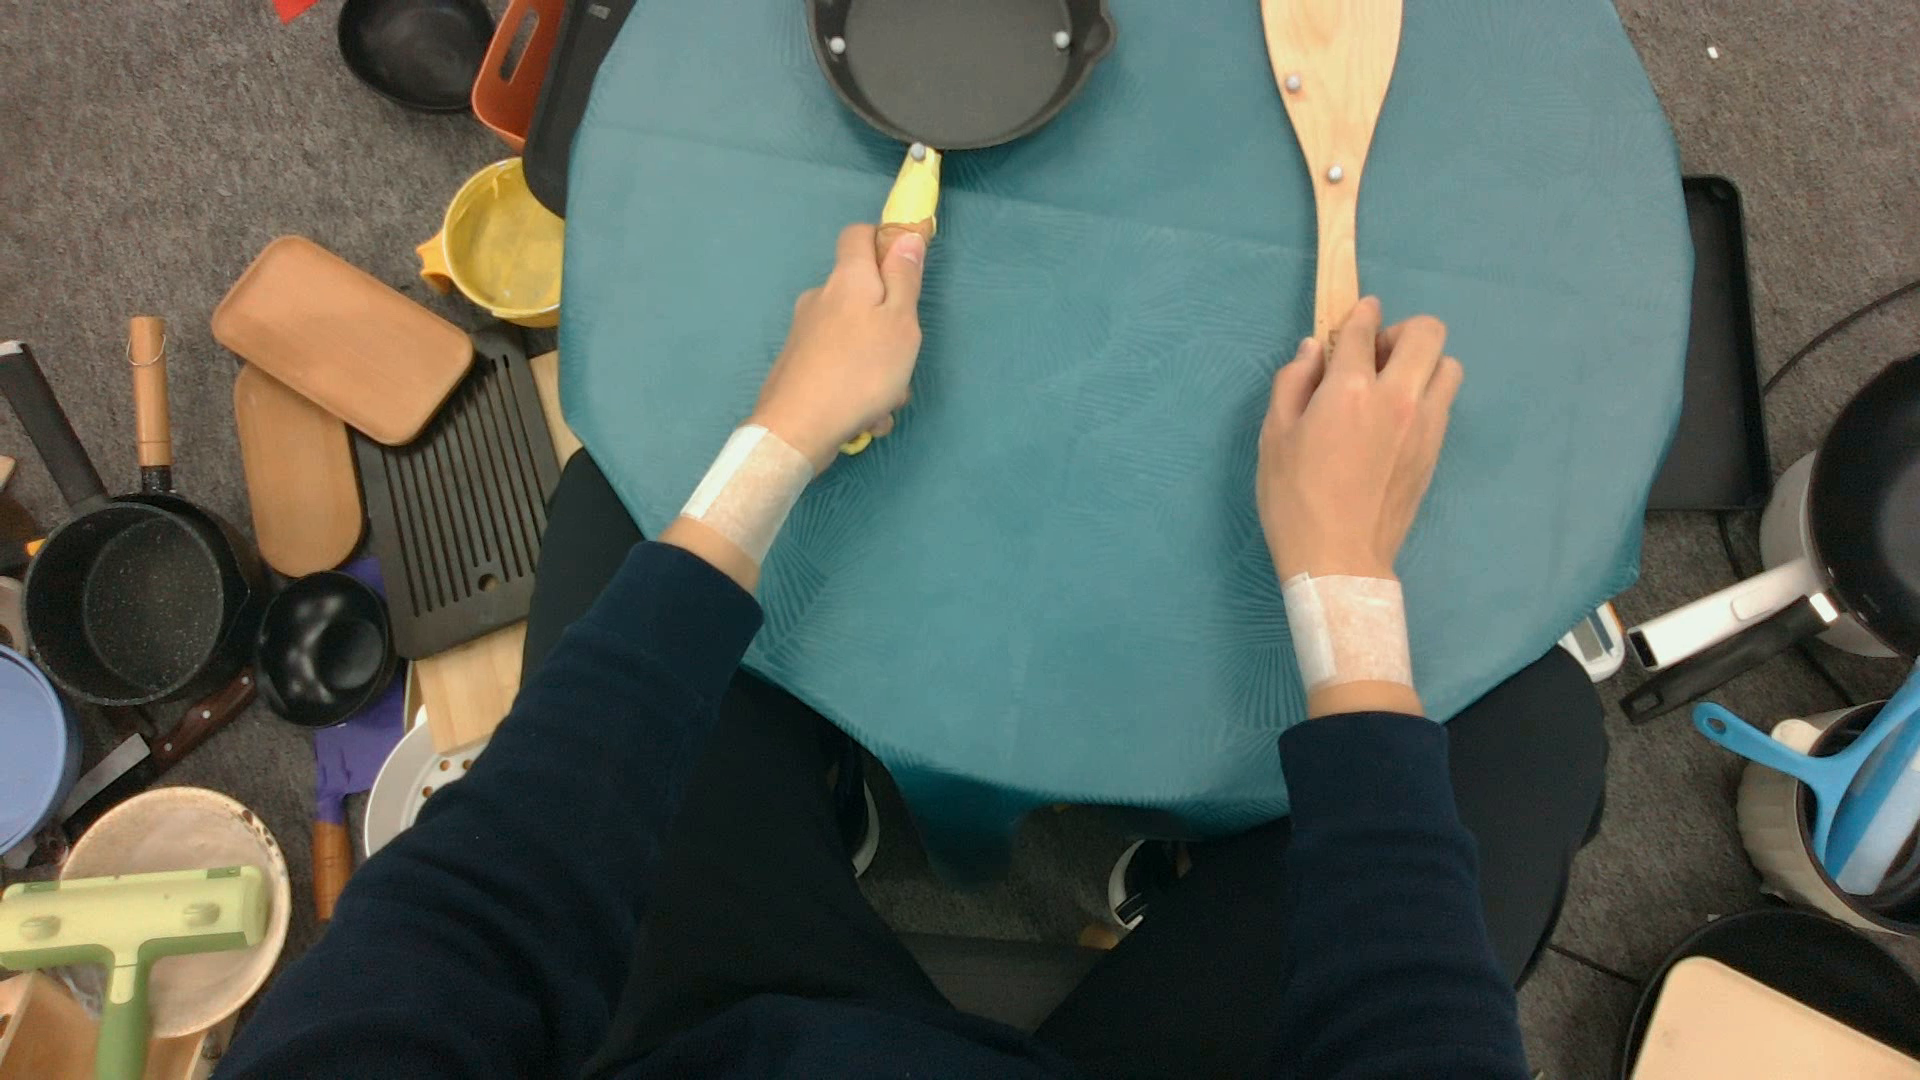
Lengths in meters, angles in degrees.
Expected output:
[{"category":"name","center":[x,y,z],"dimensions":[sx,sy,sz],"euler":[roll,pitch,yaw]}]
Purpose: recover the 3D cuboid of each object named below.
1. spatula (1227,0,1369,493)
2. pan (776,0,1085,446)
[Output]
[{"category":"spatula","center":[0.182,-0.183,0.724],"dimensions":[0.080,0.016,0.328],"euler":[1,74,2]},{"category":"pan","center":[-0.036,-0.200,0.717],"dimensions":[0.169,0.049,0.325],"euler":[13,78,3]}]
